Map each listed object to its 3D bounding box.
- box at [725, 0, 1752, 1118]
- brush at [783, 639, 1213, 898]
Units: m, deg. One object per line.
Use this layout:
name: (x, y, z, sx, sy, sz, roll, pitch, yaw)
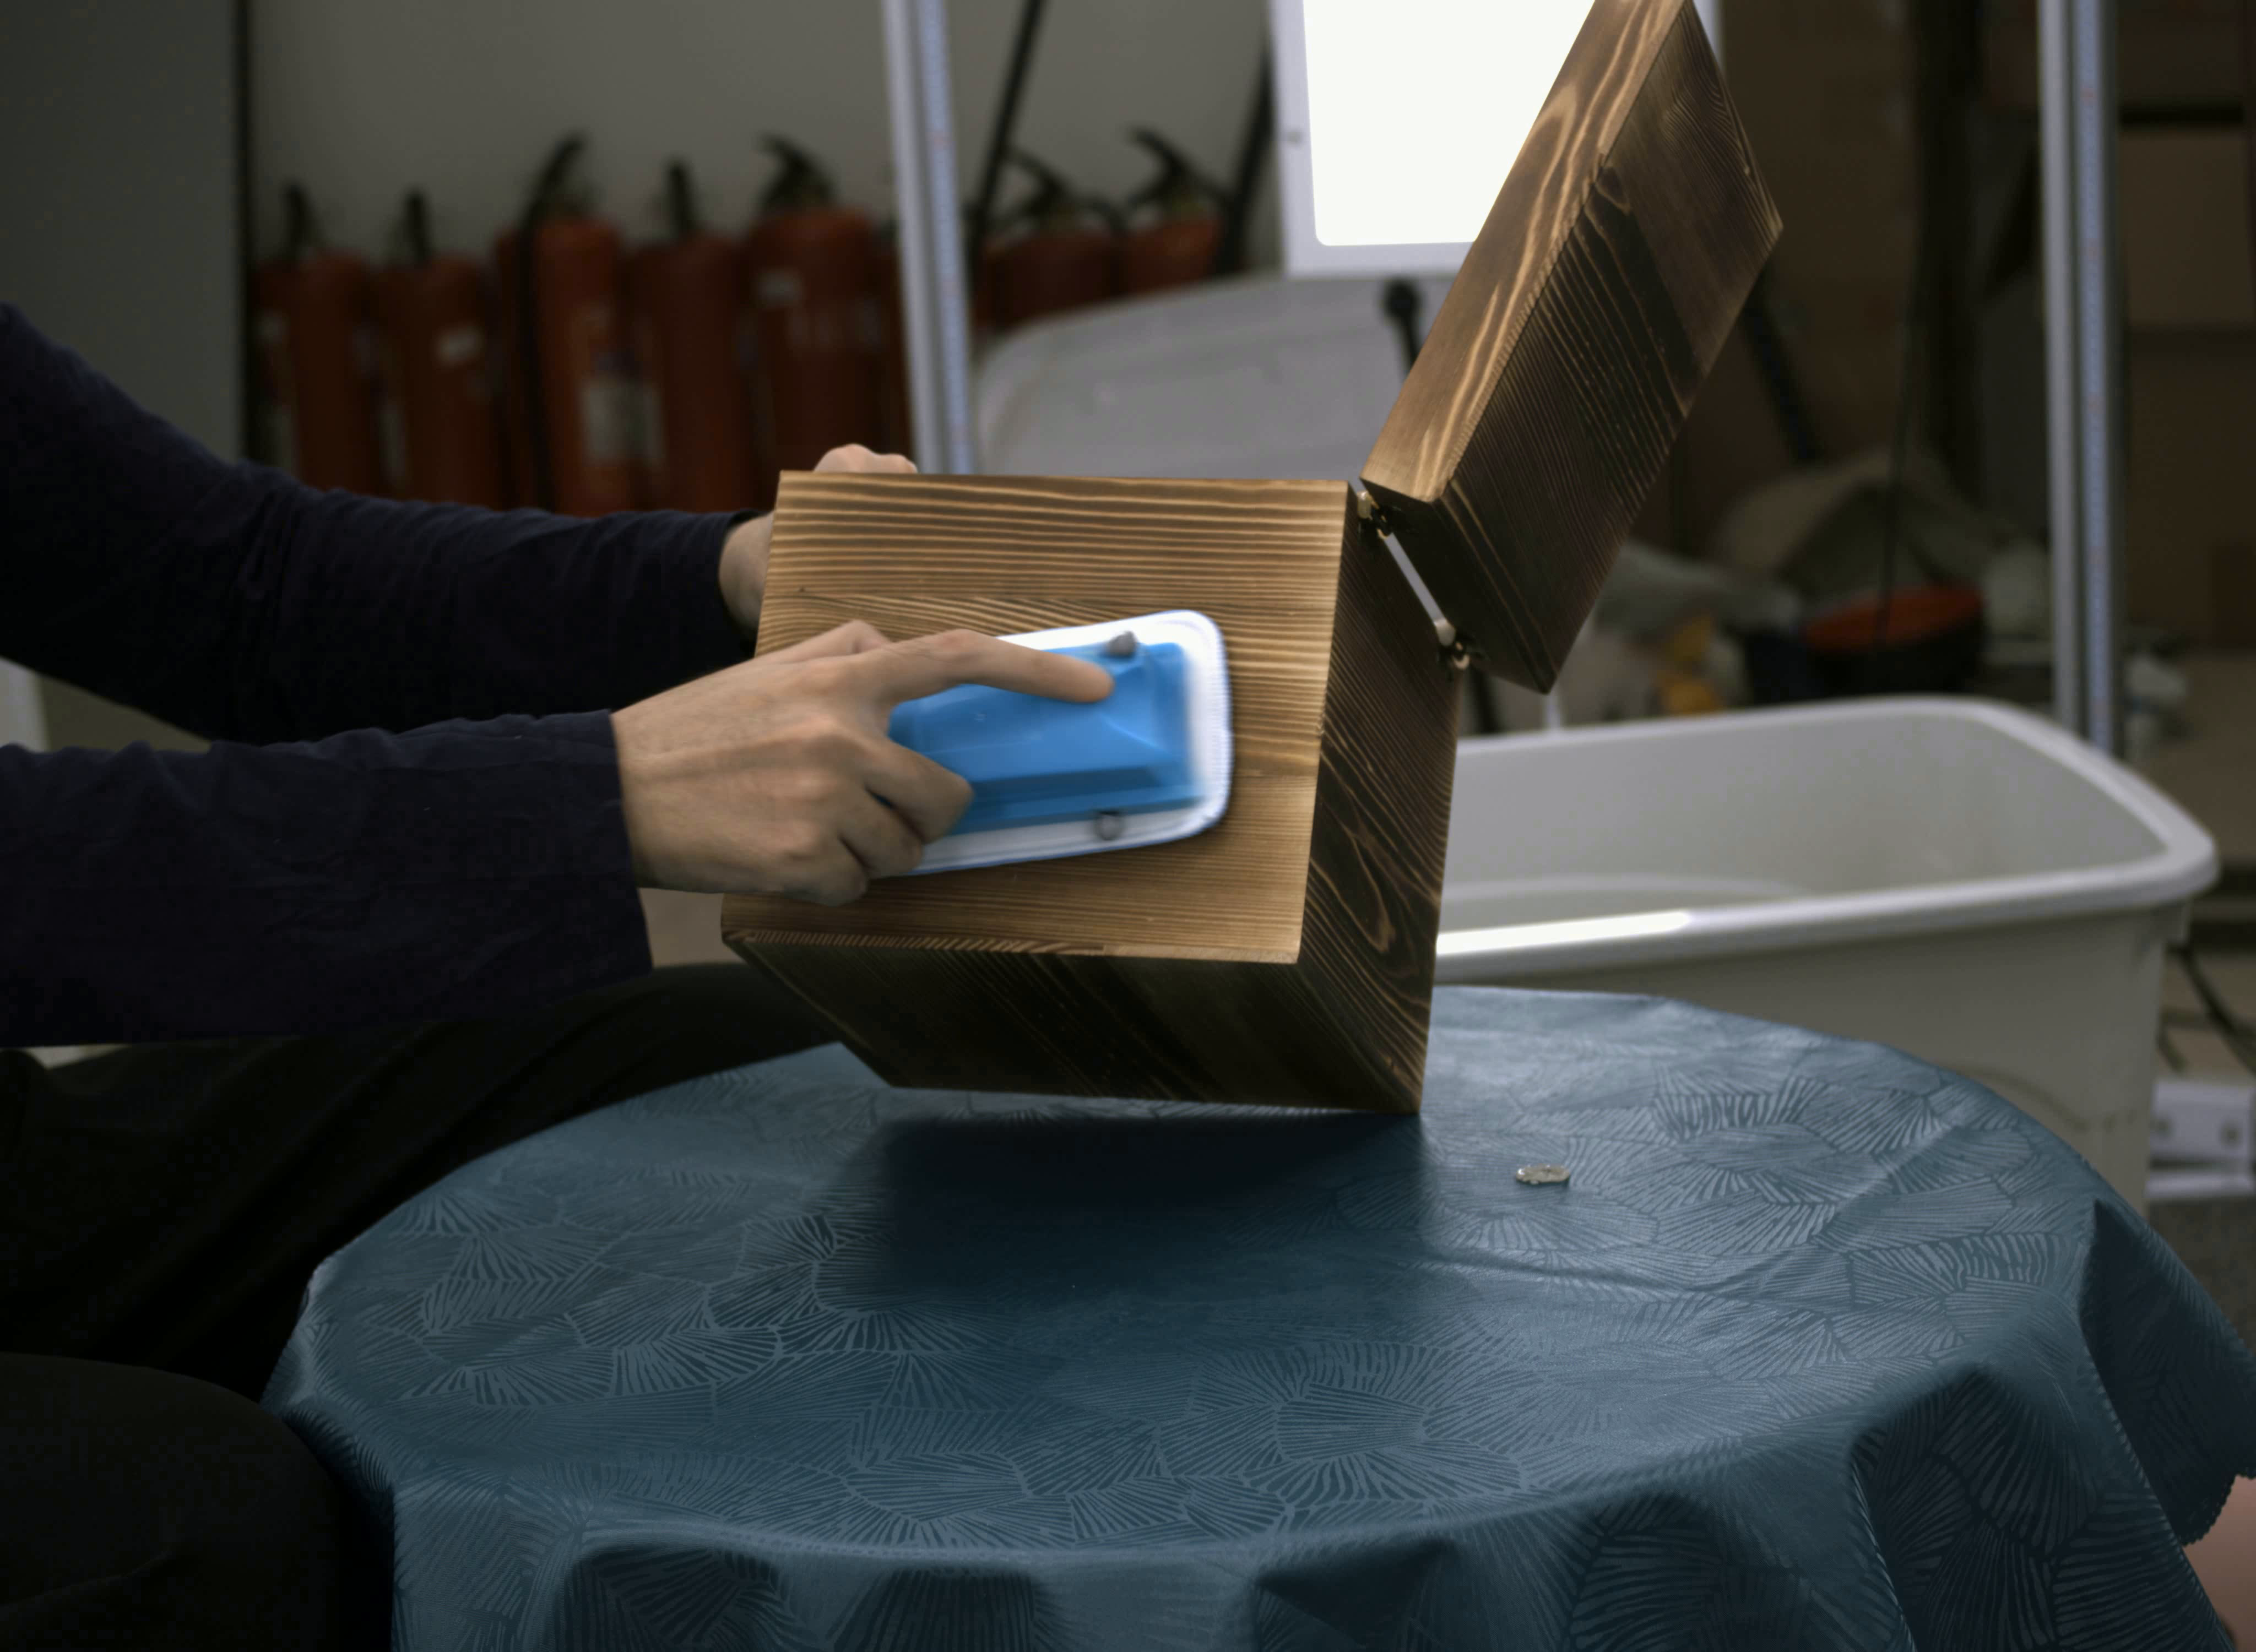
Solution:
box: (0.051, -0.099, 1.933, 0.326, 0.375, 0.206, 1, -16, 17)
brush: (-0.045, -0.026, 1.790, 0.145, 0.084, 0.055, -7, -23, 10)
